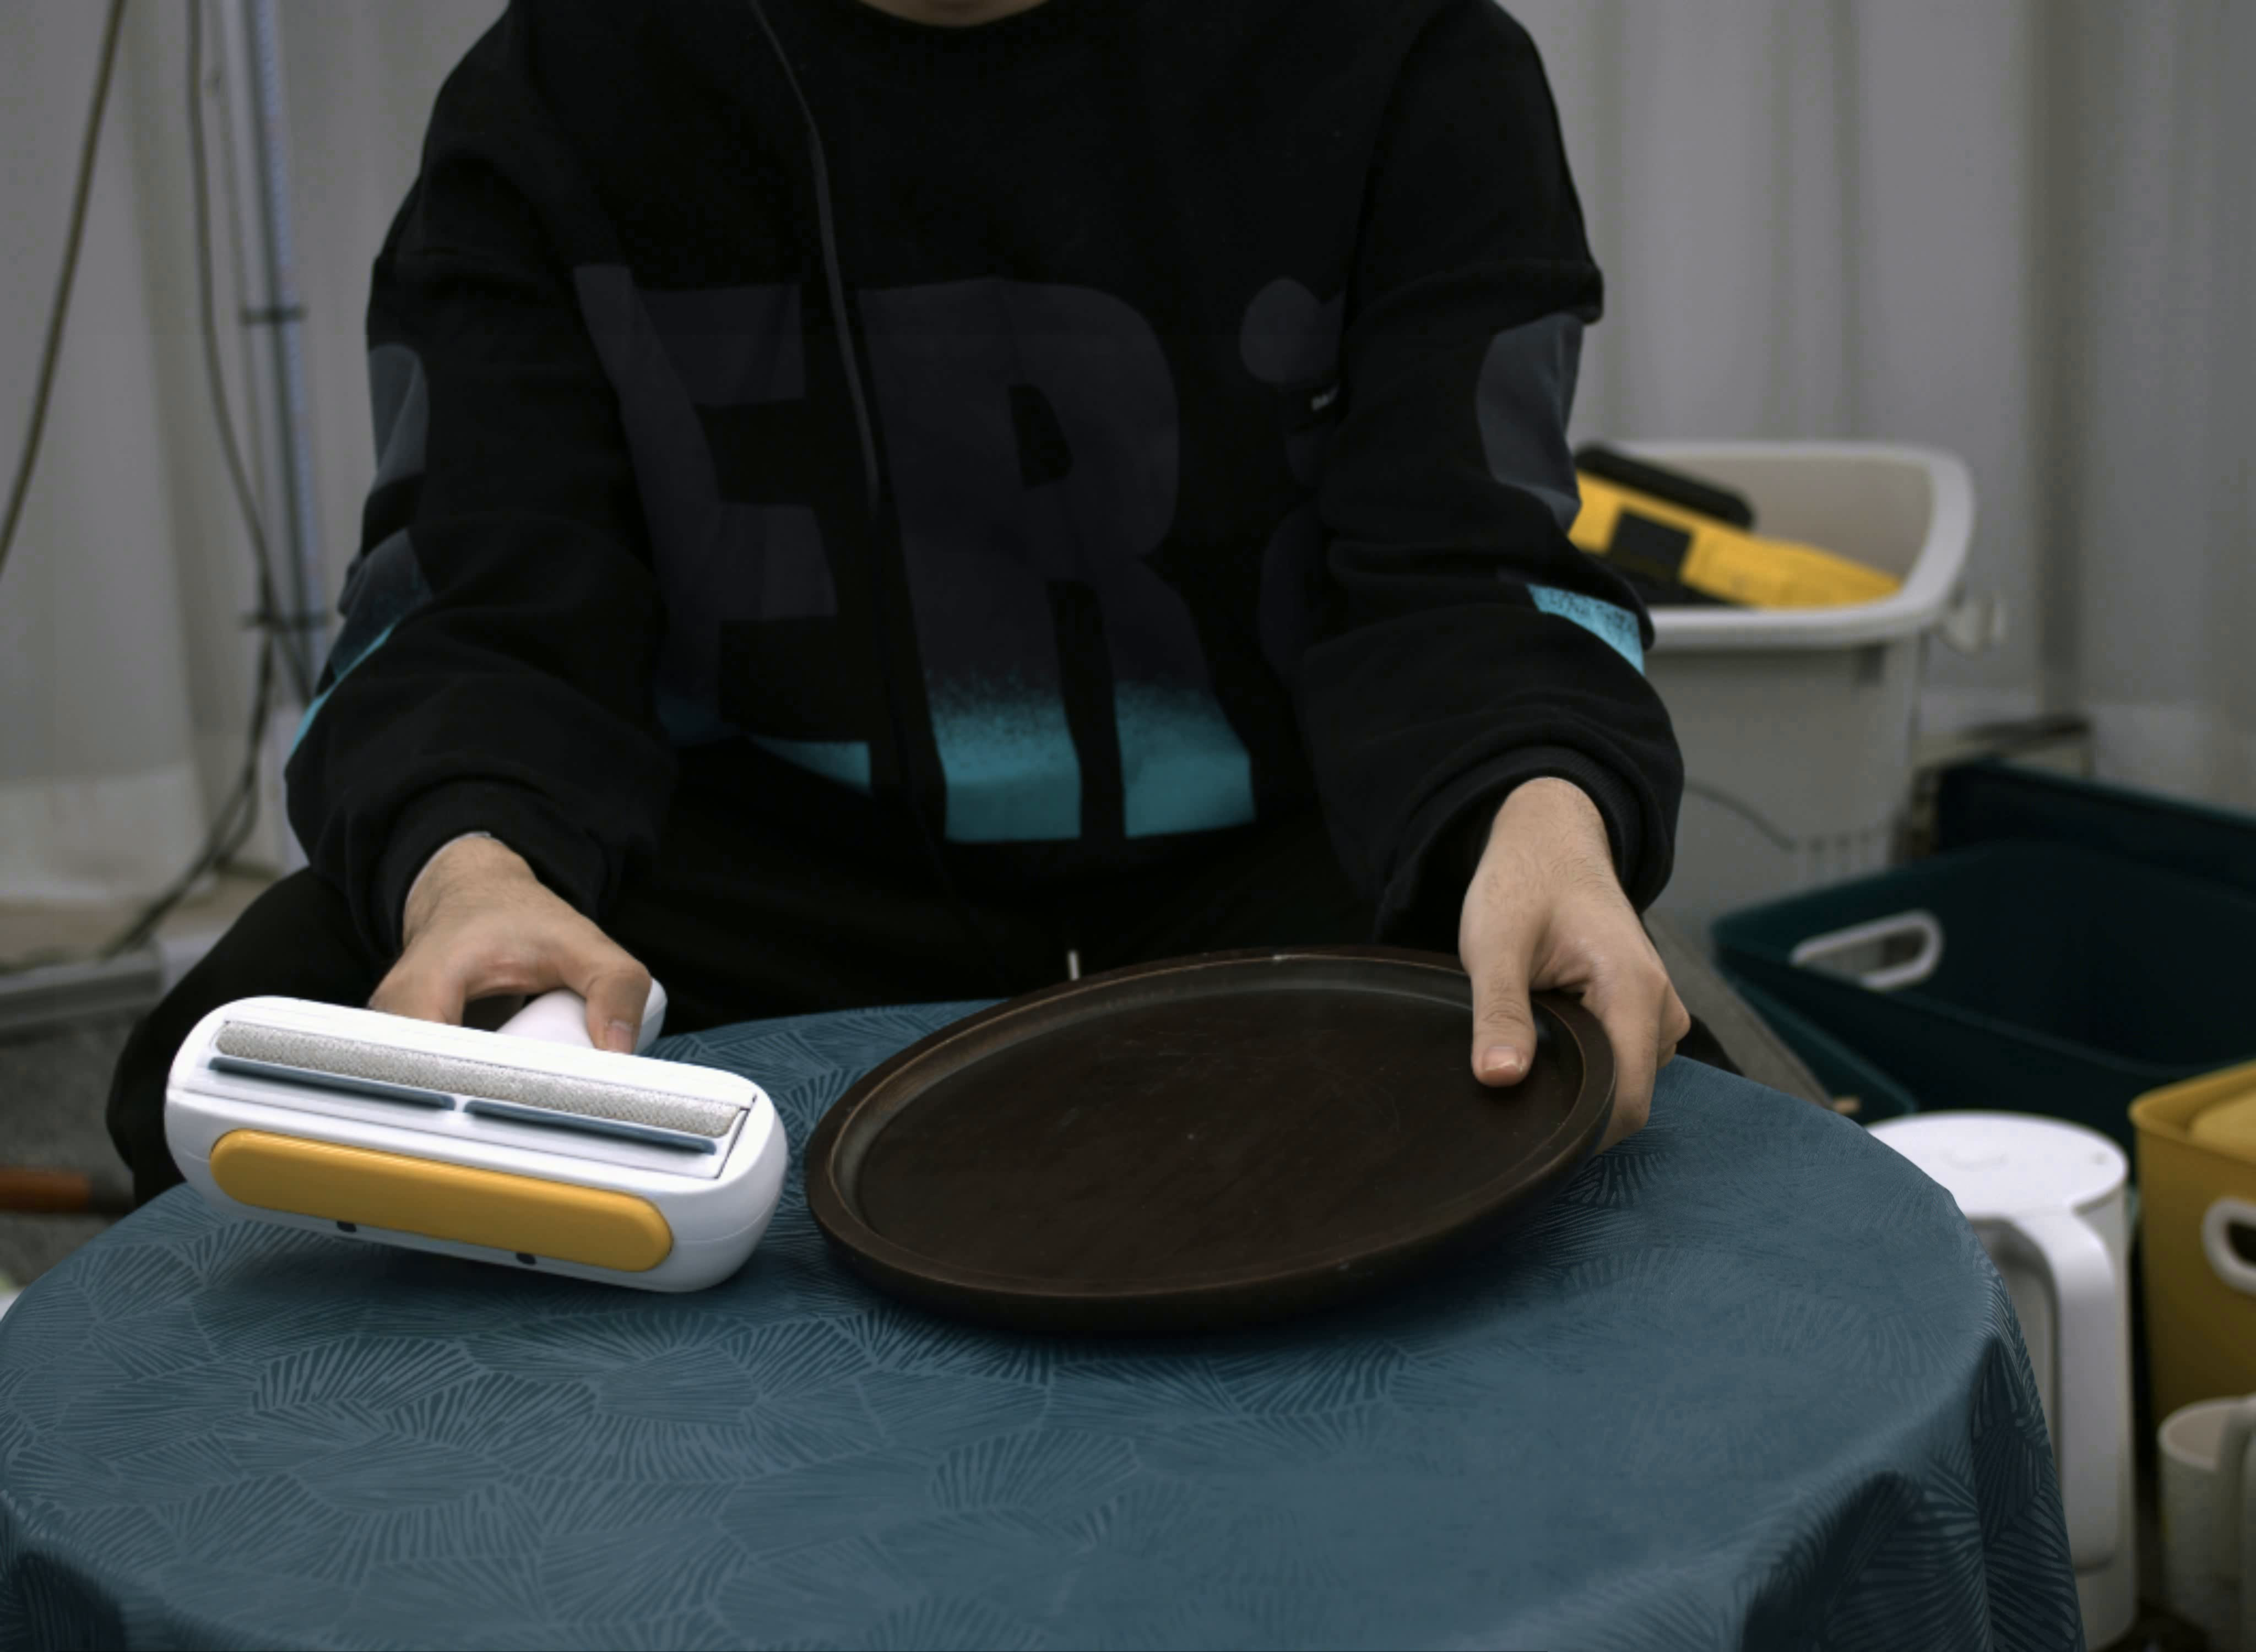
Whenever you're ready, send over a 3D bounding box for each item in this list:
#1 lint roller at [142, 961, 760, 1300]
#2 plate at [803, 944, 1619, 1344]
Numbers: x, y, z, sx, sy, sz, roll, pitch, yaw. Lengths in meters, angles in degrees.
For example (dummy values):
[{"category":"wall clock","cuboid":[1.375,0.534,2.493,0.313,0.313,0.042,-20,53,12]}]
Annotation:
[{"category":"lint roller","cuboid":[-0.189,0.077,1.720,0.193,0.073,0.194,6,28,16]},{"category":"plate","cuboid":[0.026,0.096,1.679,0.254,0.029,0.257,-8,19,3]}]
